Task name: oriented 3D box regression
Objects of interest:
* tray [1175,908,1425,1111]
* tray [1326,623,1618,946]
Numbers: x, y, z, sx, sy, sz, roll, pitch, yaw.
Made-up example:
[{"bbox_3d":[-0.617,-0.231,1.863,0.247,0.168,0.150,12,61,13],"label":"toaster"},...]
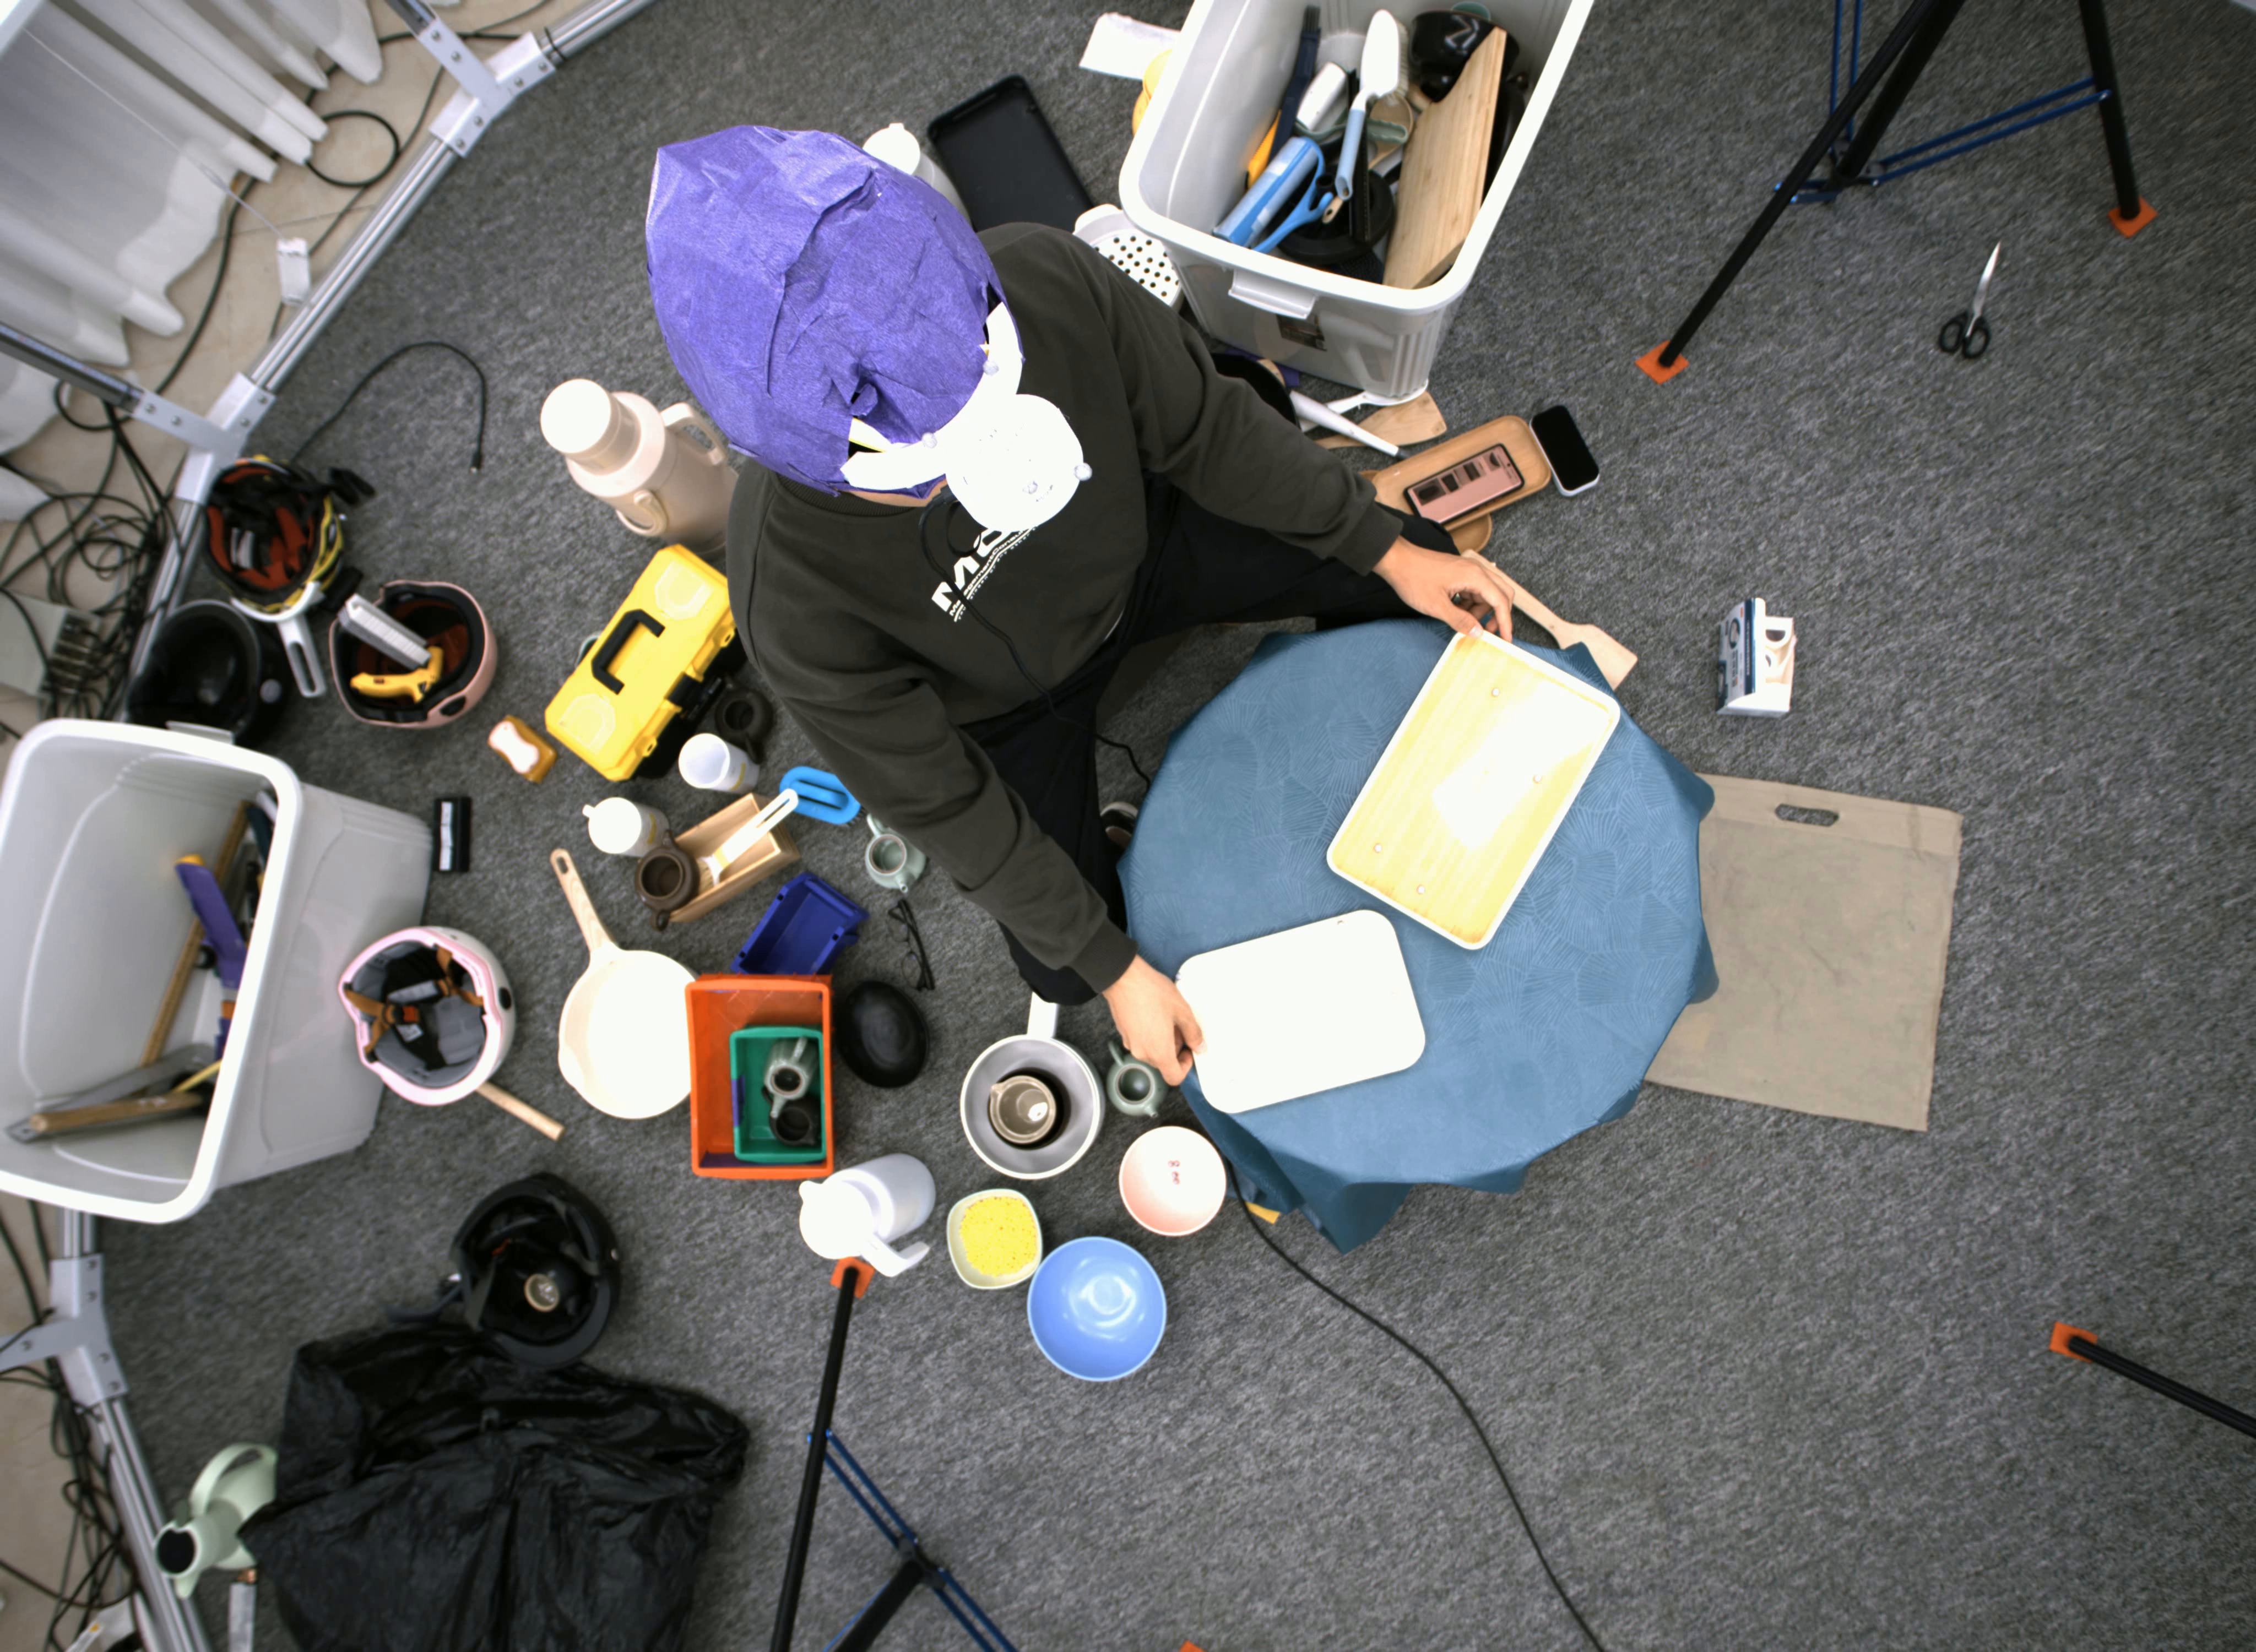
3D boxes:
[{"bbox_3d":[0.180,0.193,1.461,0.241,0.017,0.170,-17,84,9],"label":"tray"},{"bbox_3d":[0.358,-0.046,1.437,0.191,0.027,0.300,31,92,11],"label":"tray"}]
